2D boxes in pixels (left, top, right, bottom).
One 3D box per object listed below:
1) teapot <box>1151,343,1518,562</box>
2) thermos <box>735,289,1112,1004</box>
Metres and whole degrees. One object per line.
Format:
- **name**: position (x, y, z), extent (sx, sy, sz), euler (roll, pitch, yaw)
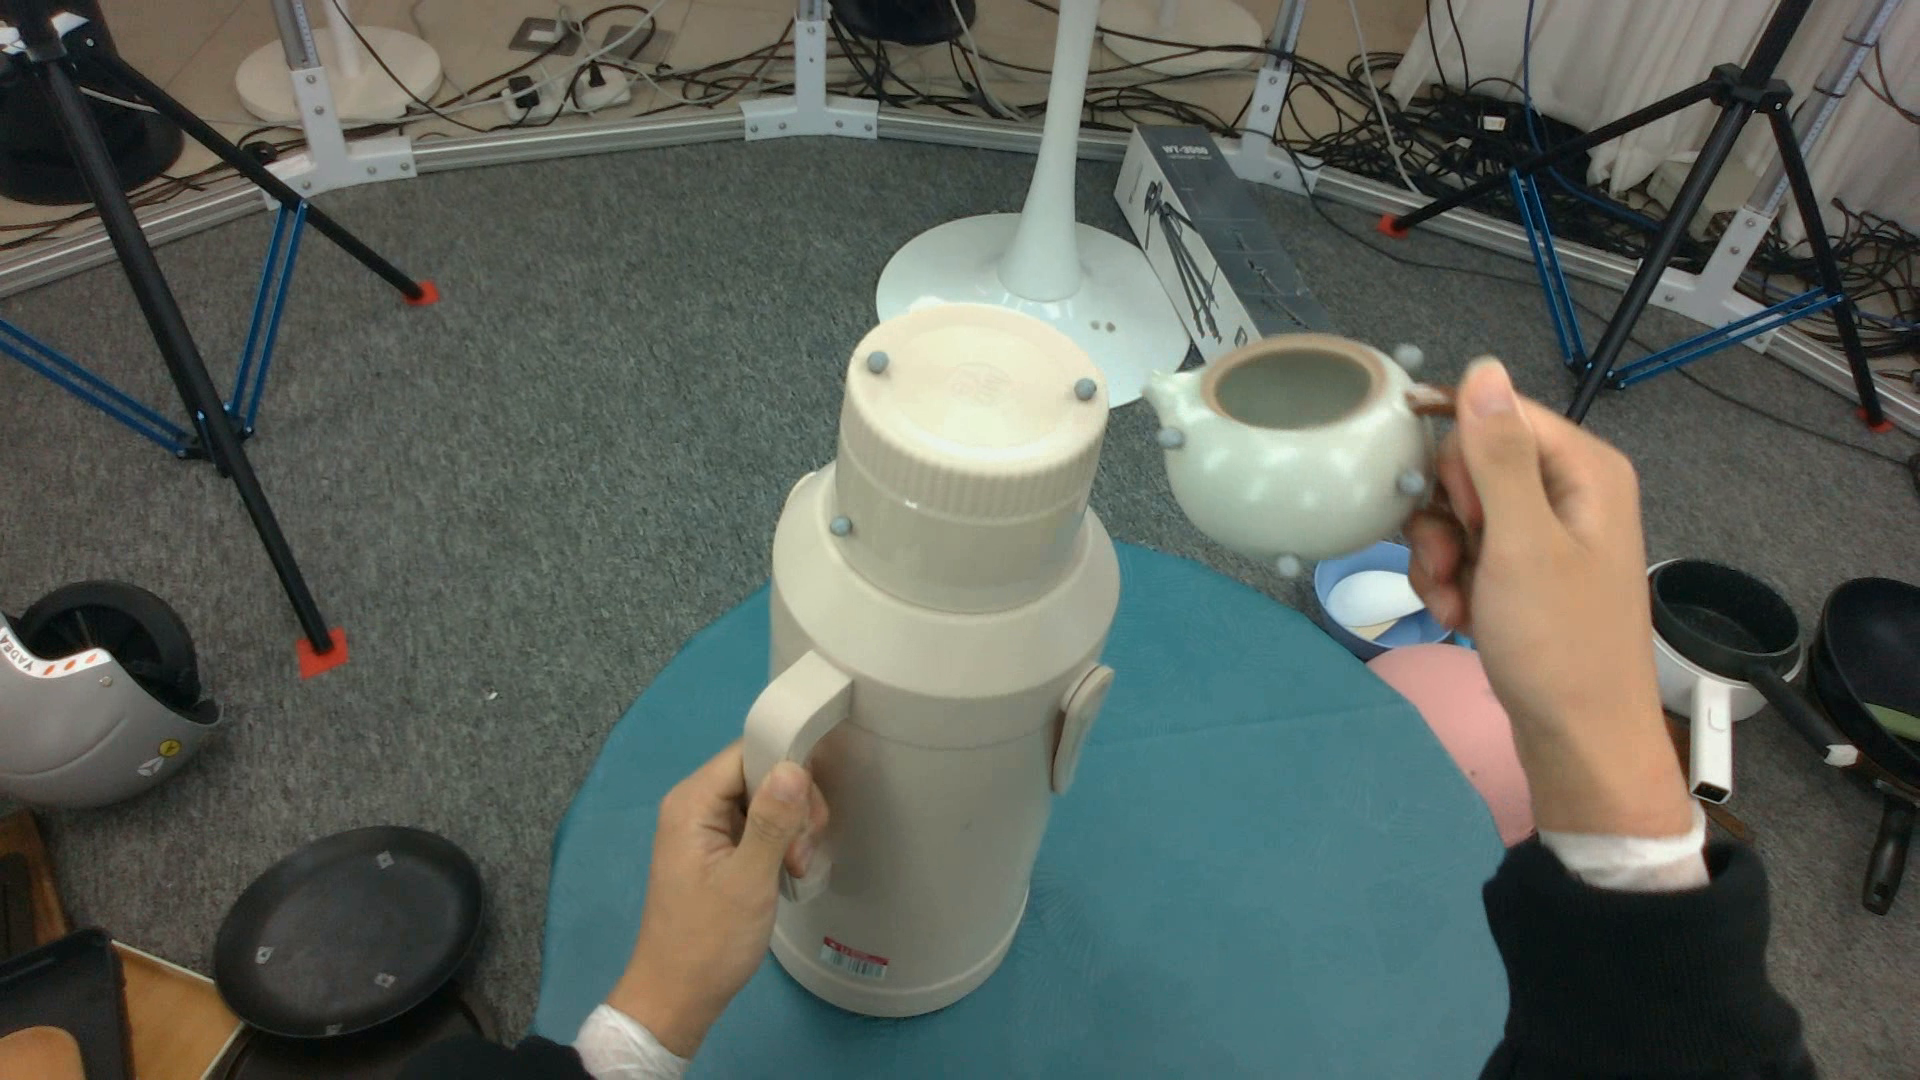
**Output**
- **teapot**: position (0.131, -0.031, 0.493), extent (0.128, 0.059, 0.092), euler (8, 37, 21)
- **thermos**: position (-0.031, 0.075, 0.675), extent (0.175, 0.404, 0.208), euler (34, 50, 19)
